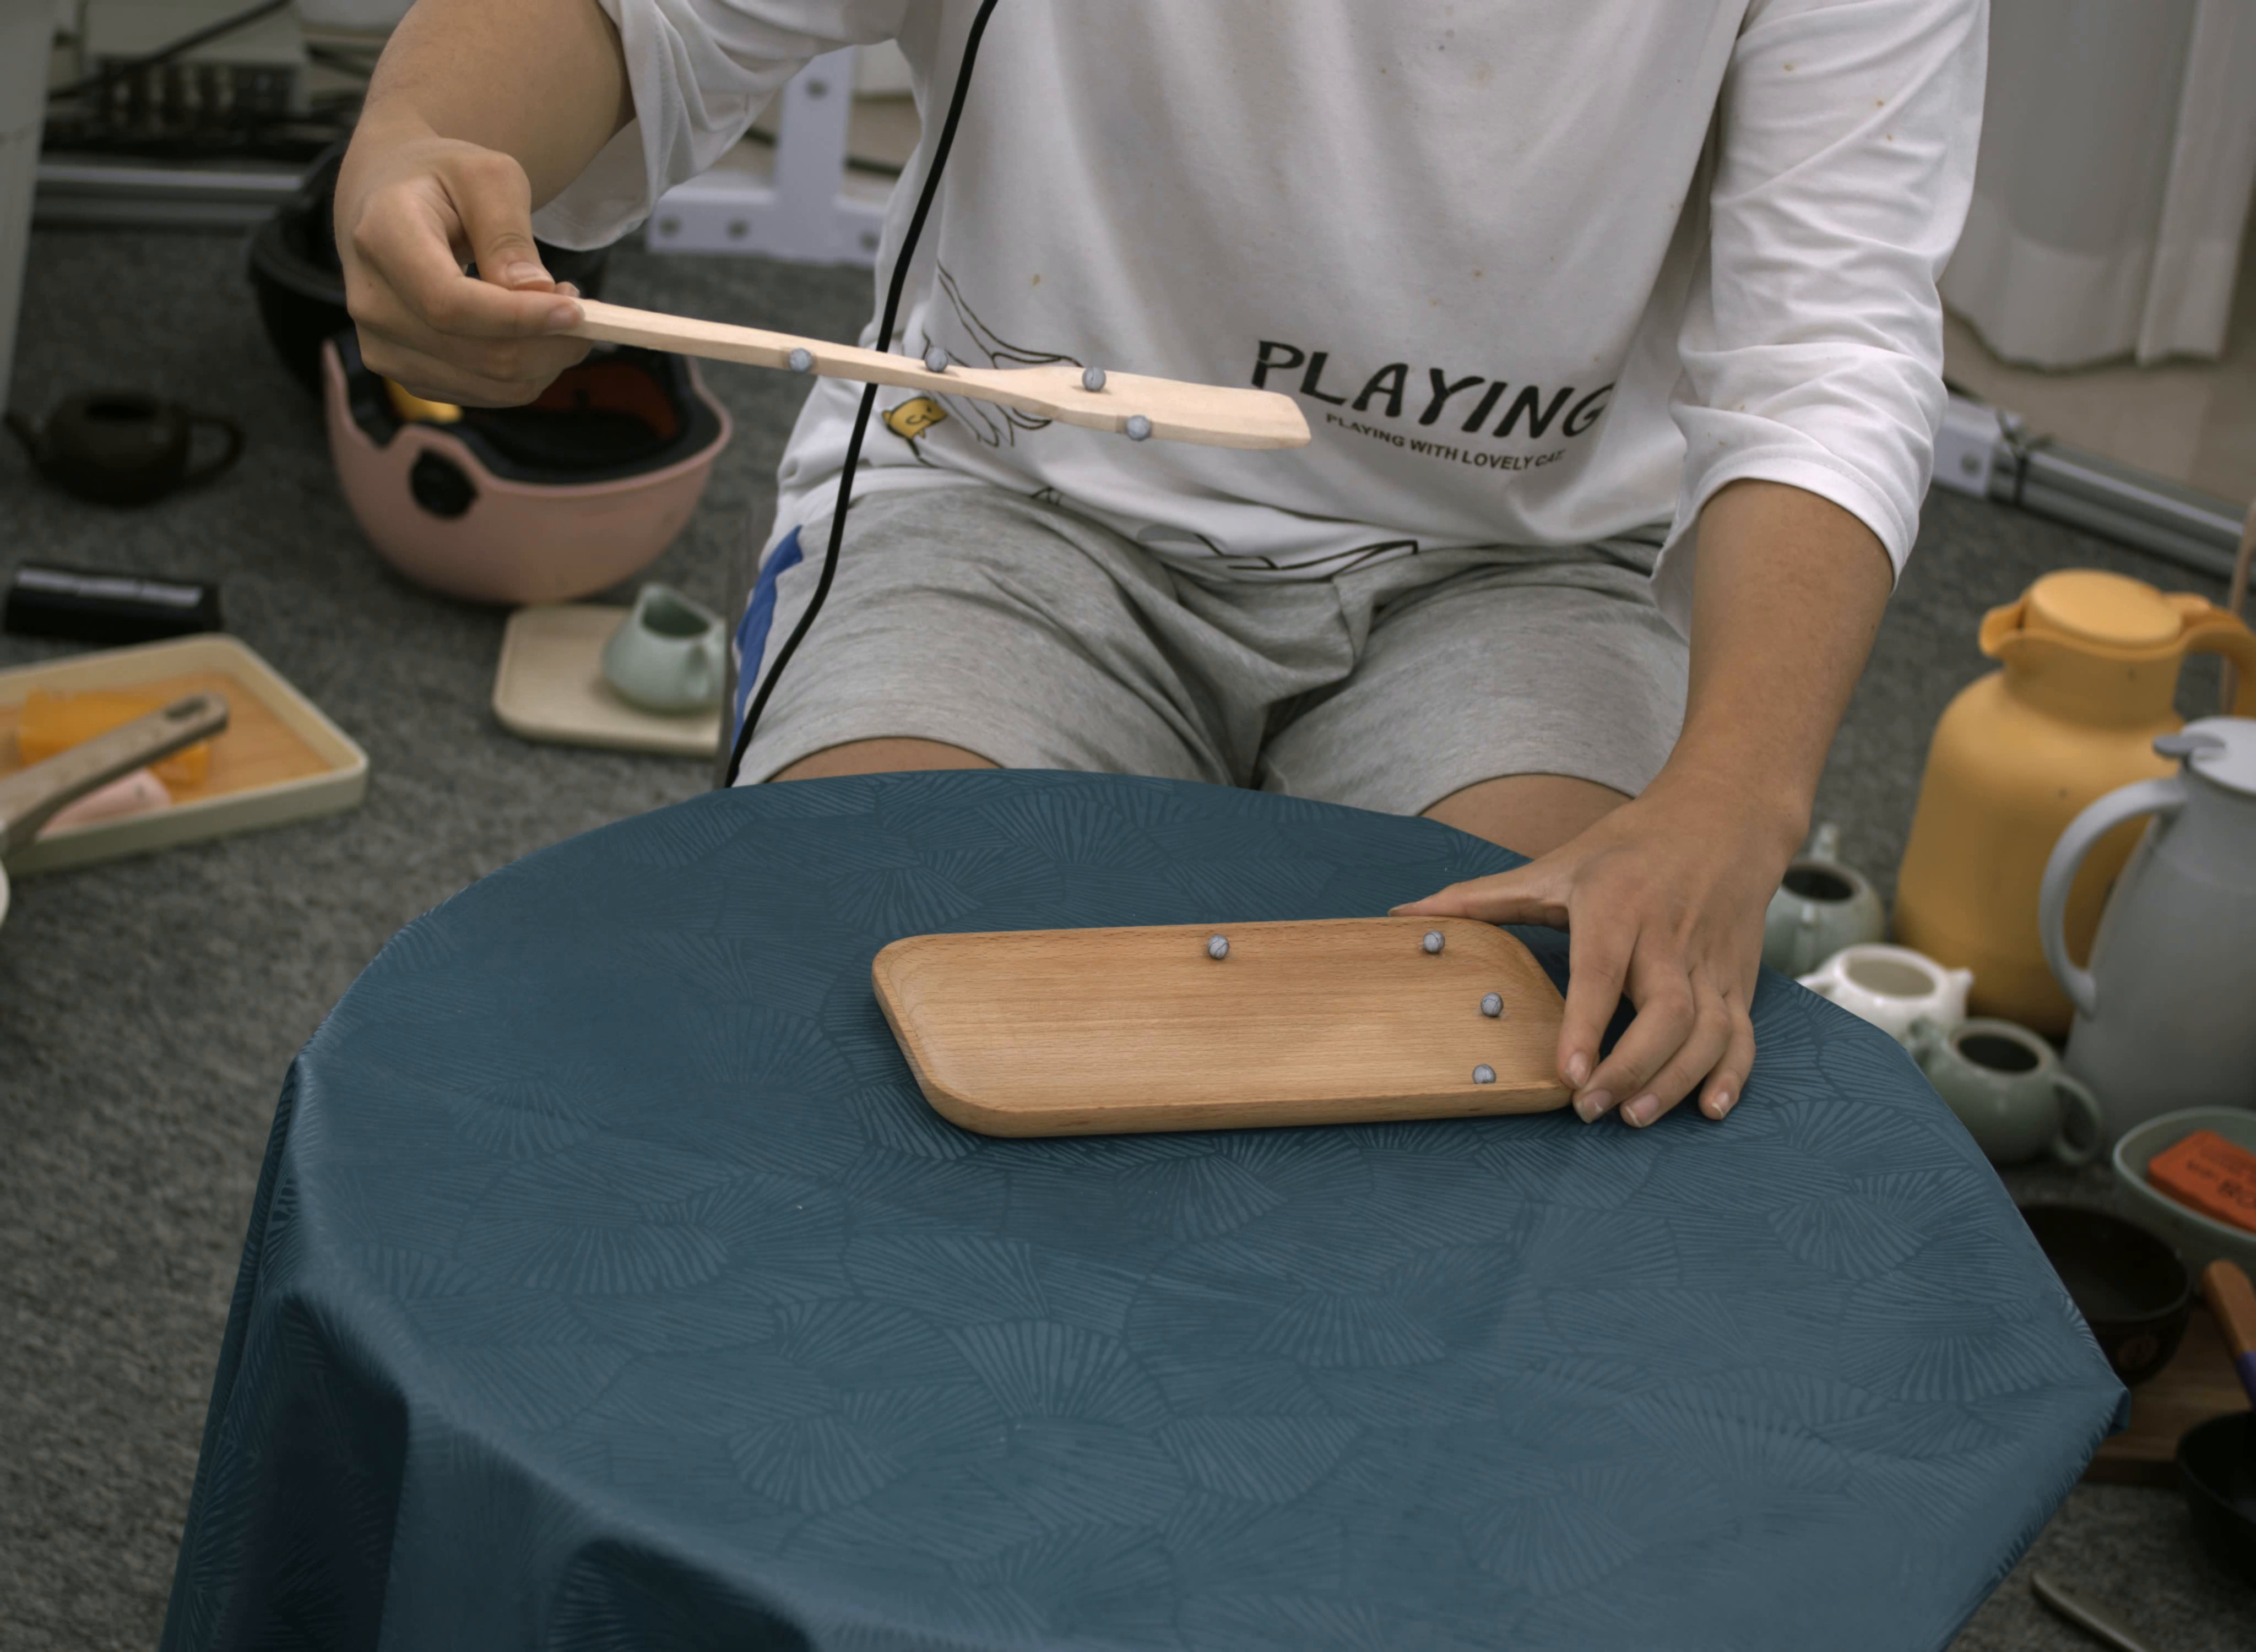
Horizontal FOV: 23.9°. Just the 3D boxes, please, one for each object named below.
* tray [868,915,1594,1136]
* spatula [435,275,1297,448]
[{"bbox_3d":[0.036,0.071,1.902,0.249,0.023,0.131,-2,25,-15],"label":"tray"},{"bbox_3d":[-0.088,-0.157,1.793,0.292,0.010,0.072,8,17,-7],"label":"spatula"}]
